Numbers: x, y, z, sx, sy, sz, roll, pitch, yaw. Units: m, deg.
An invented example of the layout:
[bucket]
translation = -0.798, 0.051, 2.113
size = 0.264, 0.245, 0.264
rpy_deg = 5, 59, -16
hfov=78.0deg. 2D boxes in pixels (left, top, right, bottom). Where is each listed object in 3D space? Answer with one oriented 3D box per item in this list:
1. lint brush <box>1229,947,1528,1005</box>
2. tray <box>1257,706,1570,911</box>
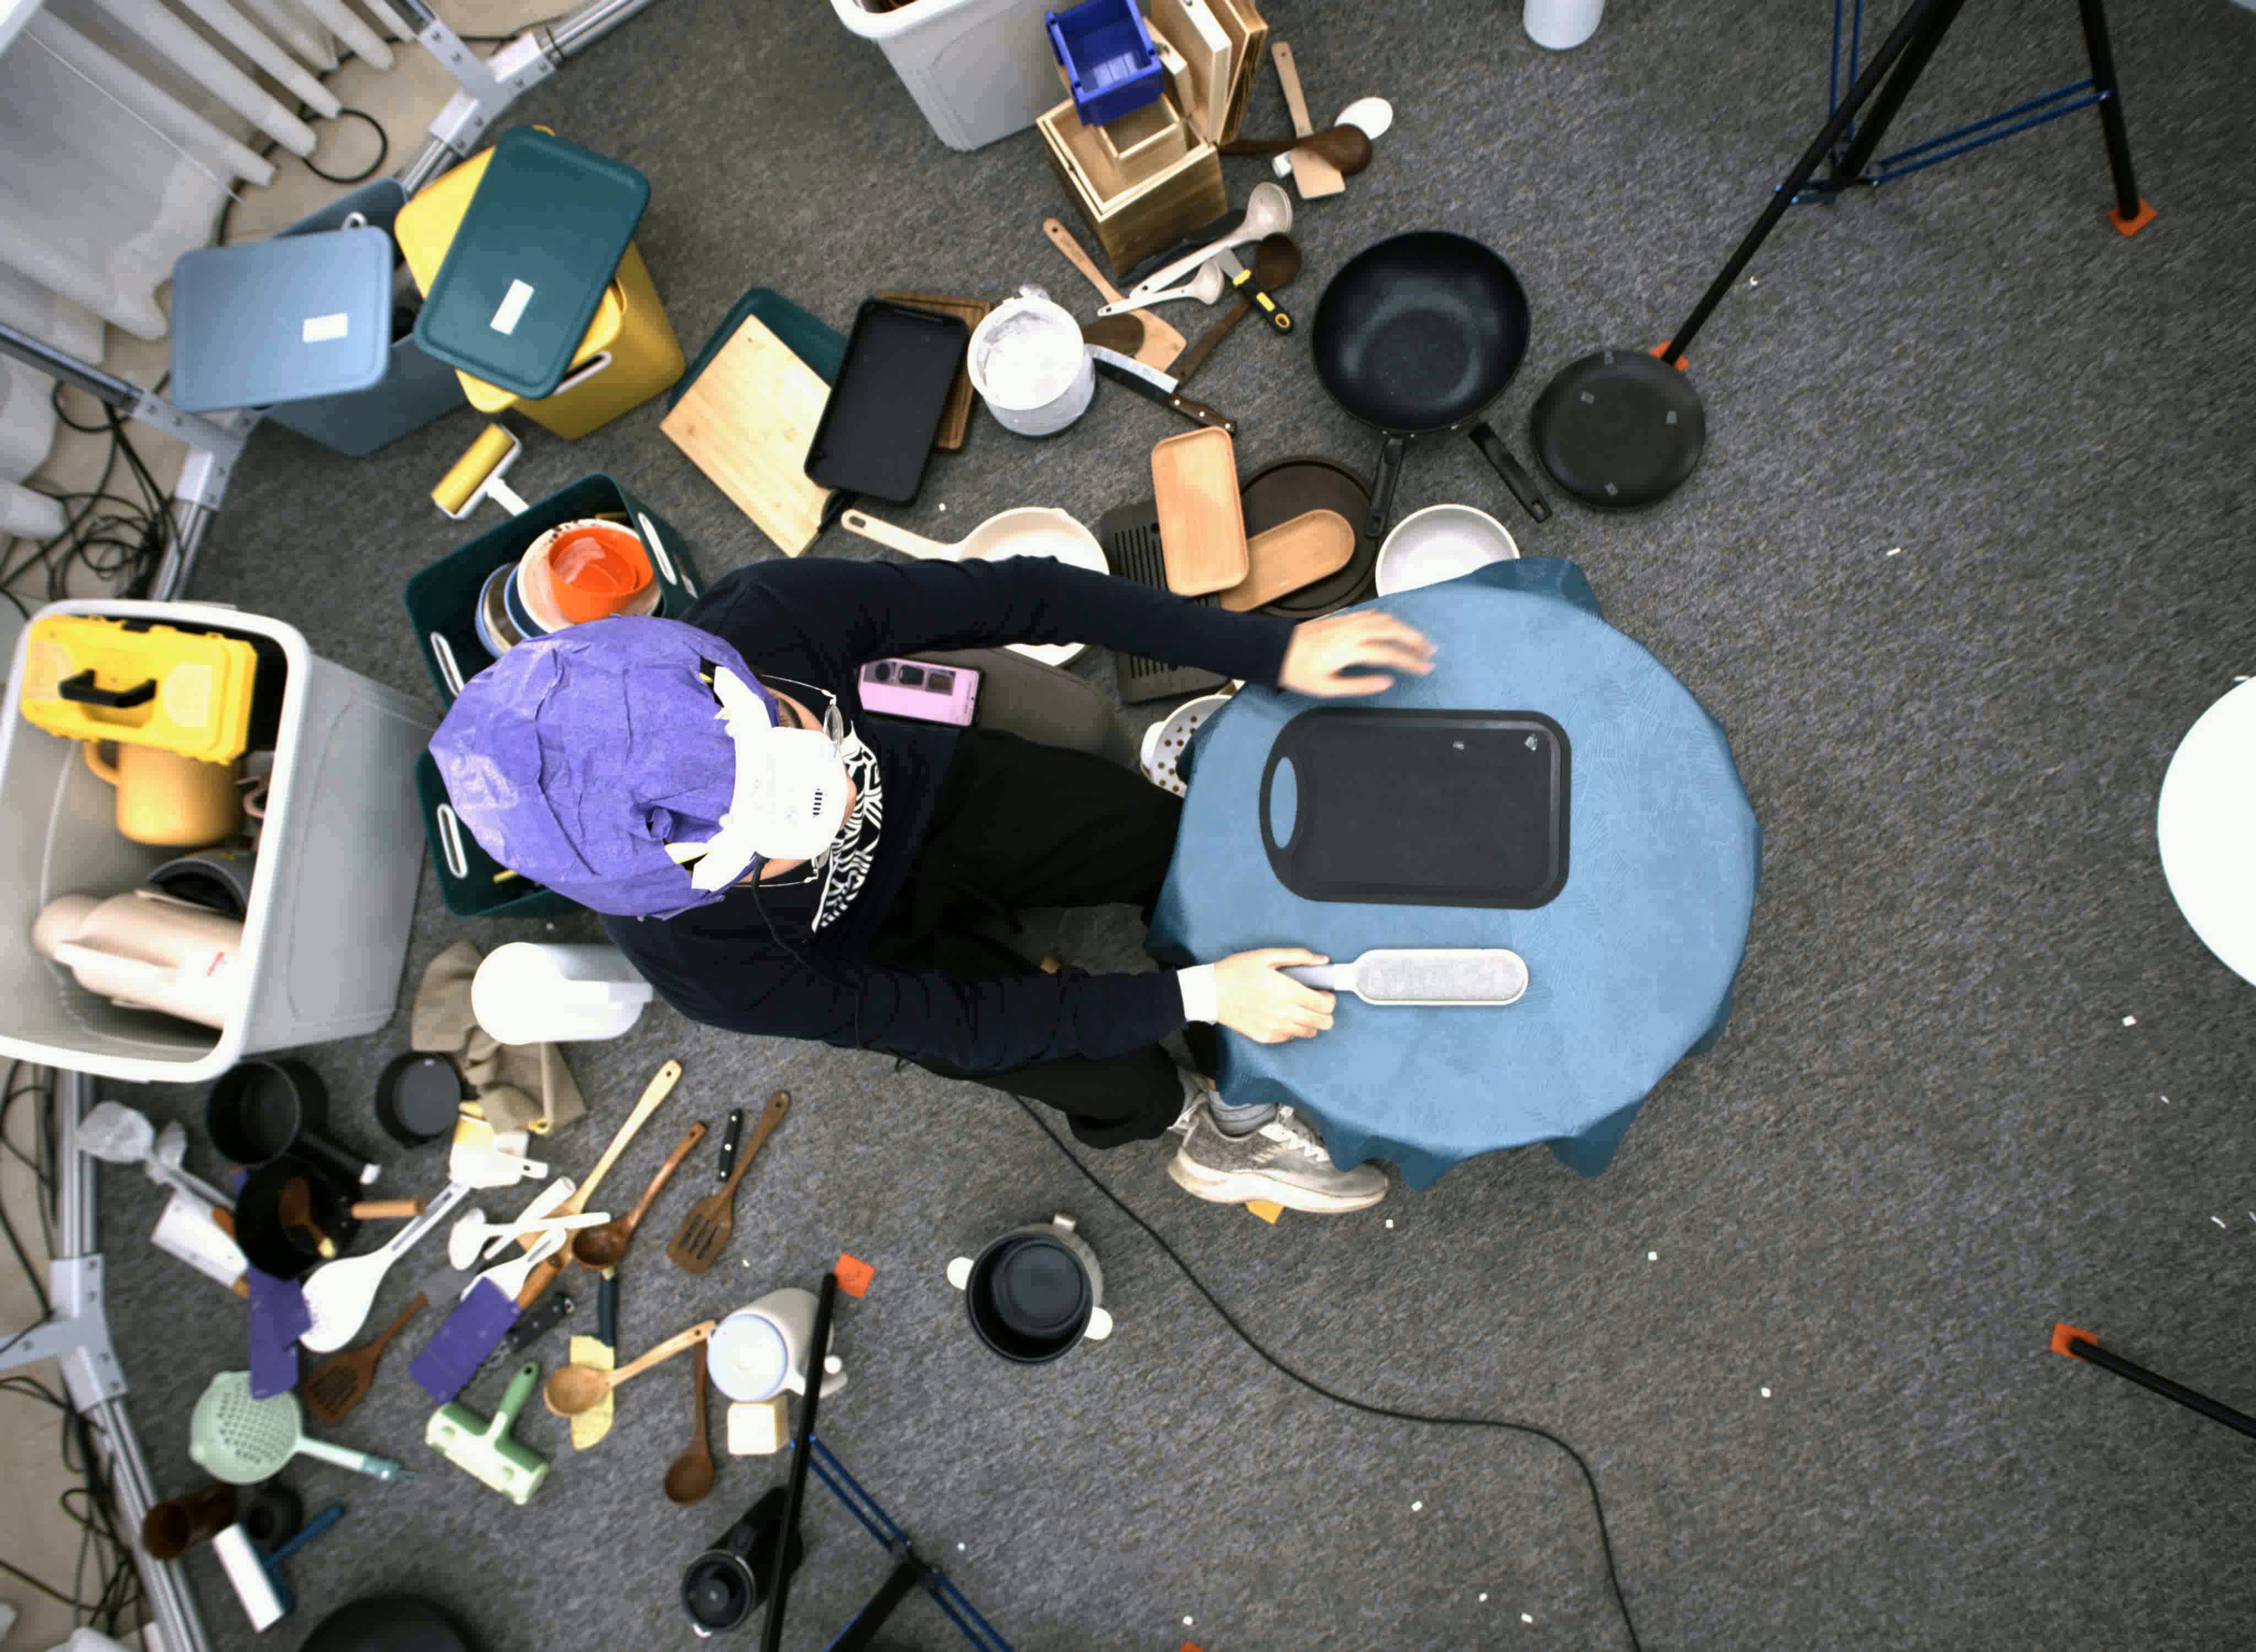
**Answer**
[lint brush]
translation = 0.260, 0.154, 1.444
size = 0.310, 0.021, 0.060
rpy_deg = -1, 92, 11
[tray]
translation = 0.299, -0.022, 1.457
size = 0.326, 0.010, 0.210
rpy_deg = 3, 87, 11
